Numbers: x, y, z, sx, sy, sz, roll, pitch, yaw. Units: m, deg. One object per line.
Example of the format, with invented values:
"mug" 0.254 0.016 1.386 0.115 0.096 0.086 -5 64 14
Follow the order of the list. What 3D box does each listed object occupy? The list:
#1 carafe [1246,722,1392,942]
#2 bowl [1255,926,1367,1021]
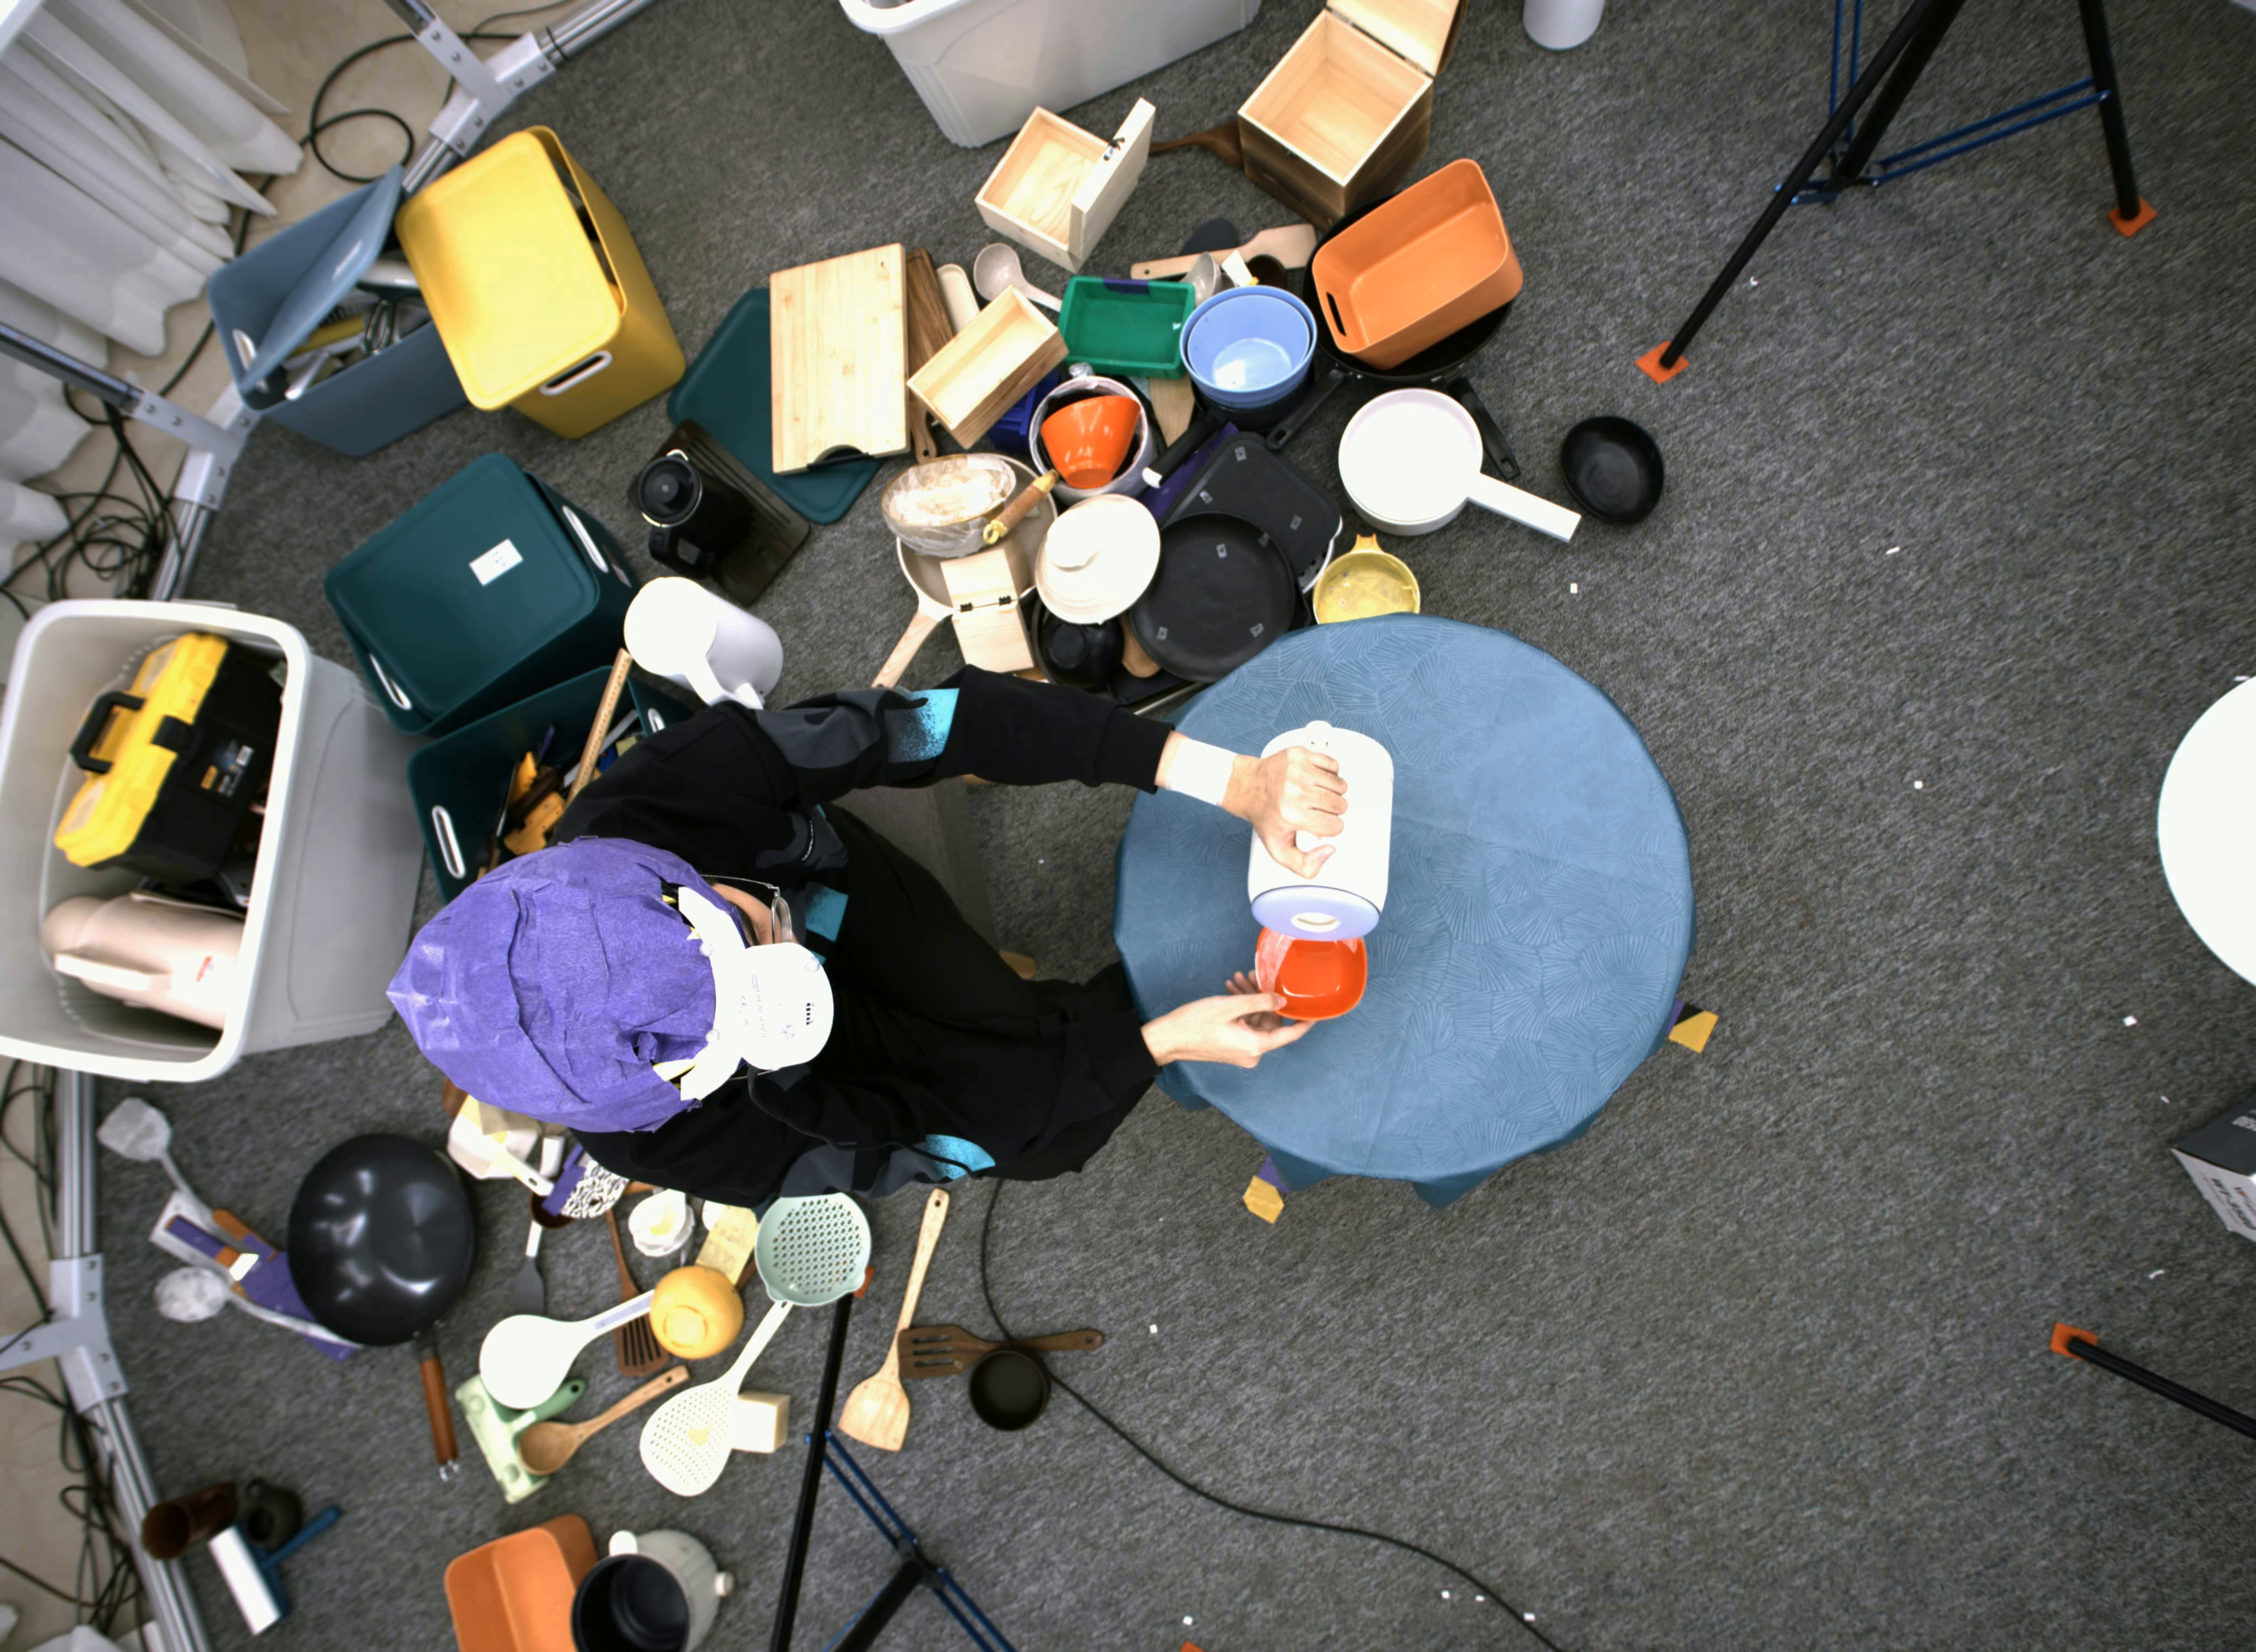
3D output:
"carafe" 0.176 -0.003 1.292 0.133 0.194 0.178 0 63 16
"bowl" 0.181 0.138 1.385 0.119 0.051 0.118 0 85 4
